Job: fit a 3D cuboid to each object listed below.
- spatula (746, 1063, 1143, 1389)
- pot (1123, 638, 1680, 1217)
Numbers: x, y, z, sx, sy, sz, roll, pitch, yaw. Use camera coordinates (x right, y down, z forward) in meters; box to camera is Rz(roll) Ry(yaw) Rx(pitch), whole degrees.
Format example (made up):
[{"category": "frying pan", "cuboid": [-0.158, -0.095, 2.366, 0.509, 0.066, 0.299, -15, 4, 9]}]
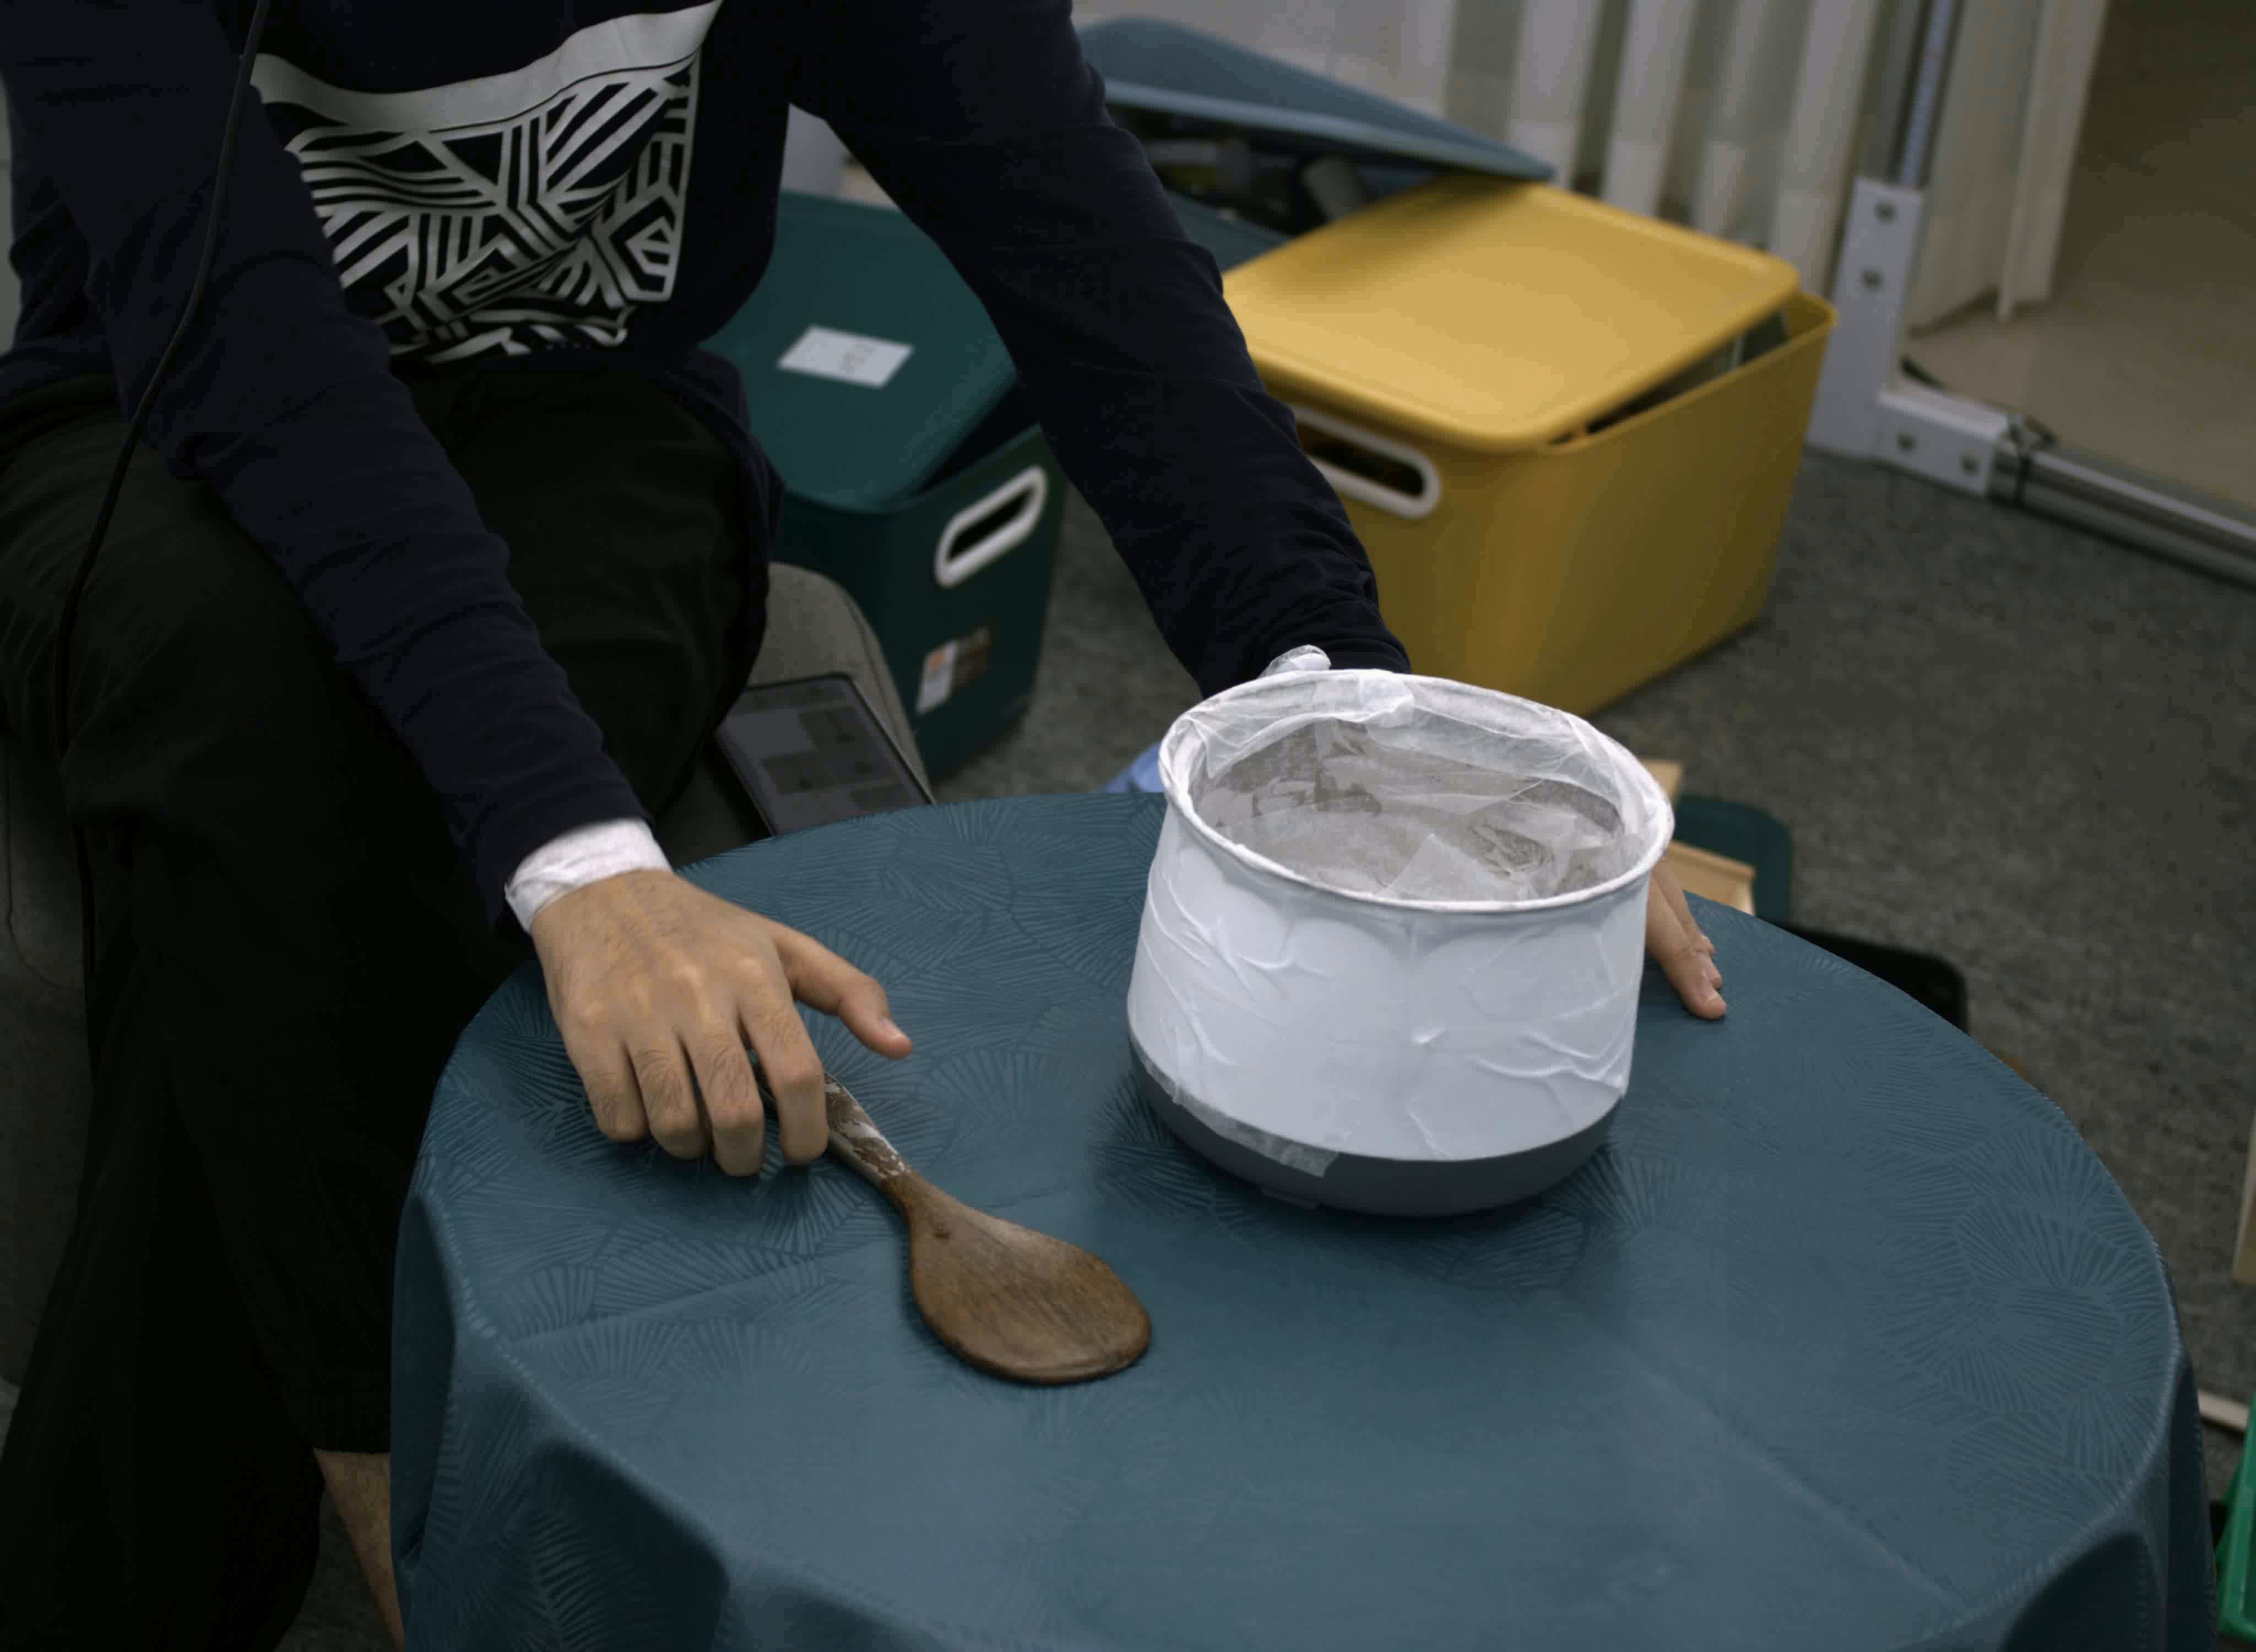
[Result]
[{"category": "spatula", "cuboid": [-0.068, 0.129, 1.774, 0.071, 0.009, 0.217, -9, 29, -31]}, {"category": "pot", "cuboid": [0.081, 0.028, 1.858, 0.177, 0.136, 0.236, -2, 29, -23]}]
